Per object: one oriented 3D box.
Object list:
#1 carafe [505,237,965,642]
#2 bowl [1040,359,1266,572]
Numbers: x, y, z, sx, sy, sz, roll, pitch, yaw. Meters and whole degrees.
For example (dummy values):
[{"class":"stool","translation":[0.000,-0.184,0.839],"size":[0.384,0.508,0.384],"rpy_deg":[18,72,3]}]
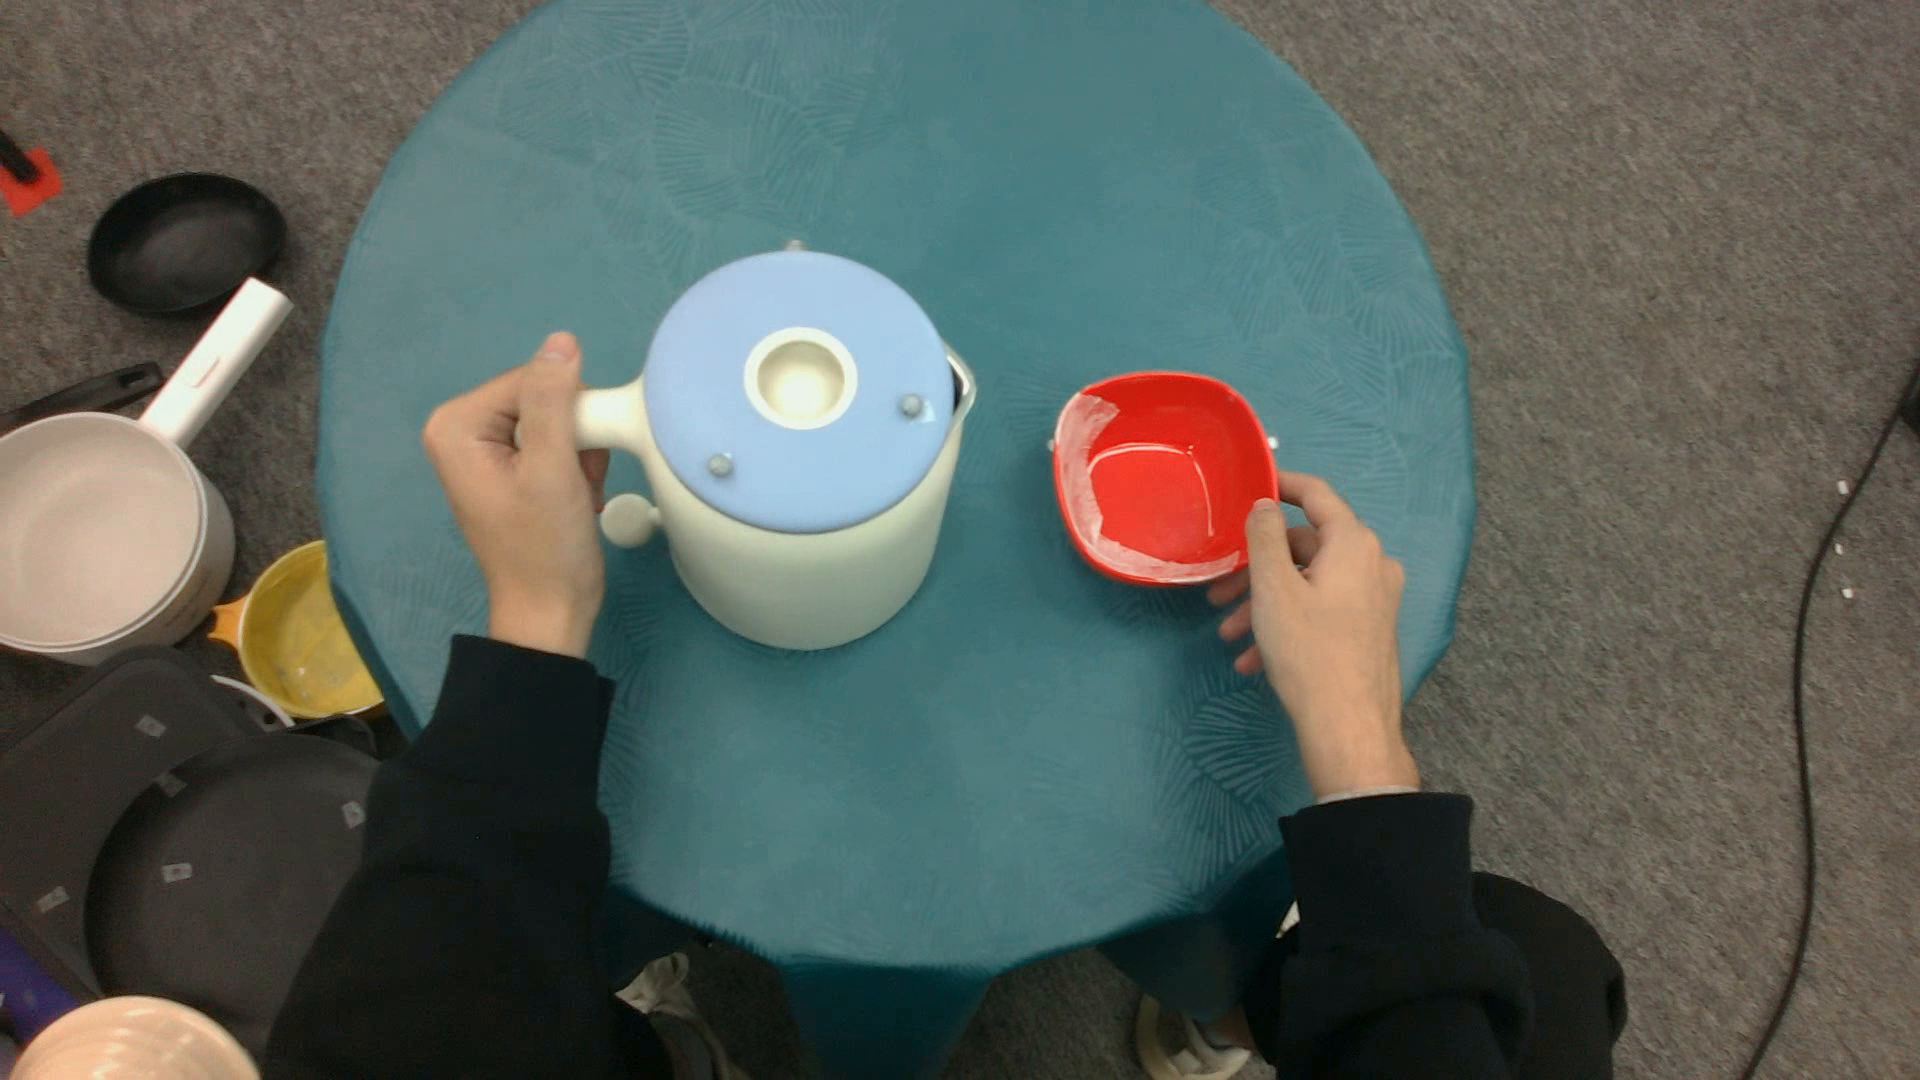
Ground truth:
[{"class":"carafe","translation":[-0.098,-0.035,0.602],"size":[0.191,0.182,0.132],"rpy_deg":[-5,71,-6]},{"class":"bowl","translation":[0.090,-0.030,0.685],"size":[0.119,0.051,0.119],"rpy_deg":[3,68,-8]}]
